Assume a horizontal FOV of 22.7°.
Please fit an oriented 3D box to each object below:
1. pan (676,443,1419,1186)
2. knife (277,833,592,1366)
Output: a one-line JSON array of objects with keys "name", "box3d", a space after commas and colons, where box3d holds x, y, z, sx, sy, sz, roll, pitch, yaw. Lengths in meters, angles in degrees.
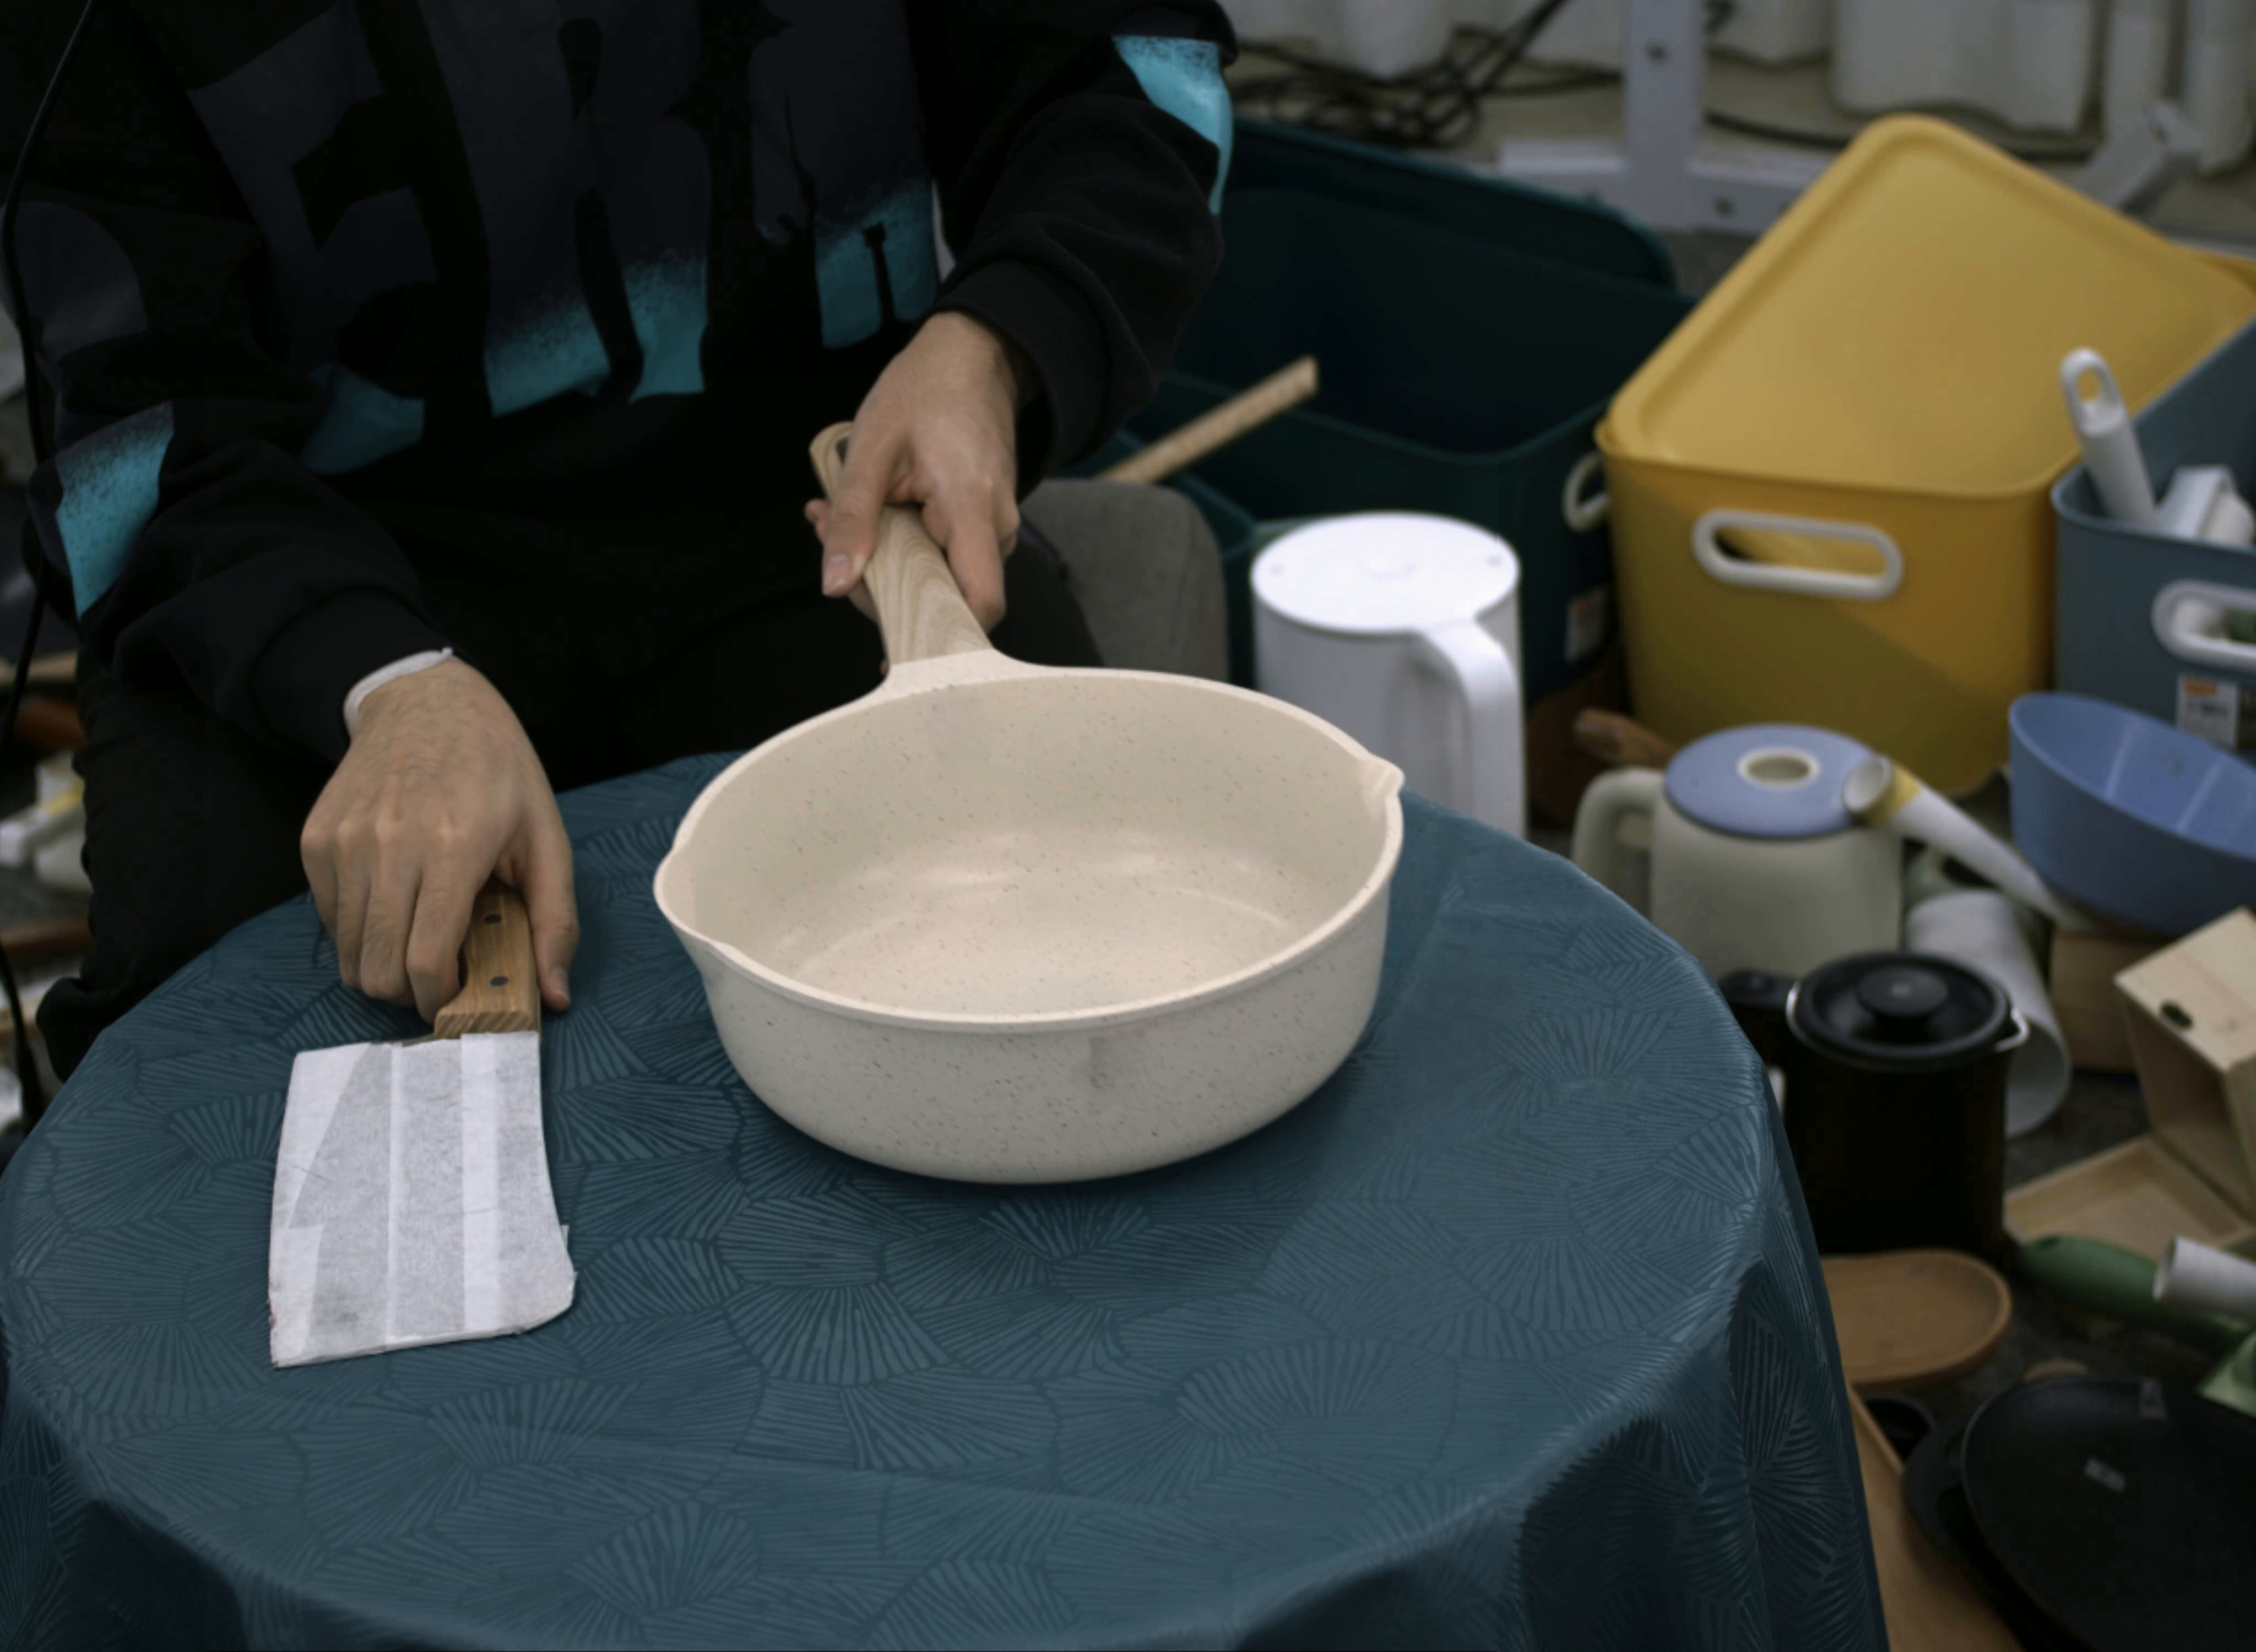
[{"name": "pan", "box3d": [-0.048, -0.009, 2.011, 0.263, 0.101, 0.439, -12, 29, -12]}, {"name": "knife", "box3d": [-0.234, 0.091, 1.926, 0.113, 0.021, 0.320, -4, 30, 0]}]
